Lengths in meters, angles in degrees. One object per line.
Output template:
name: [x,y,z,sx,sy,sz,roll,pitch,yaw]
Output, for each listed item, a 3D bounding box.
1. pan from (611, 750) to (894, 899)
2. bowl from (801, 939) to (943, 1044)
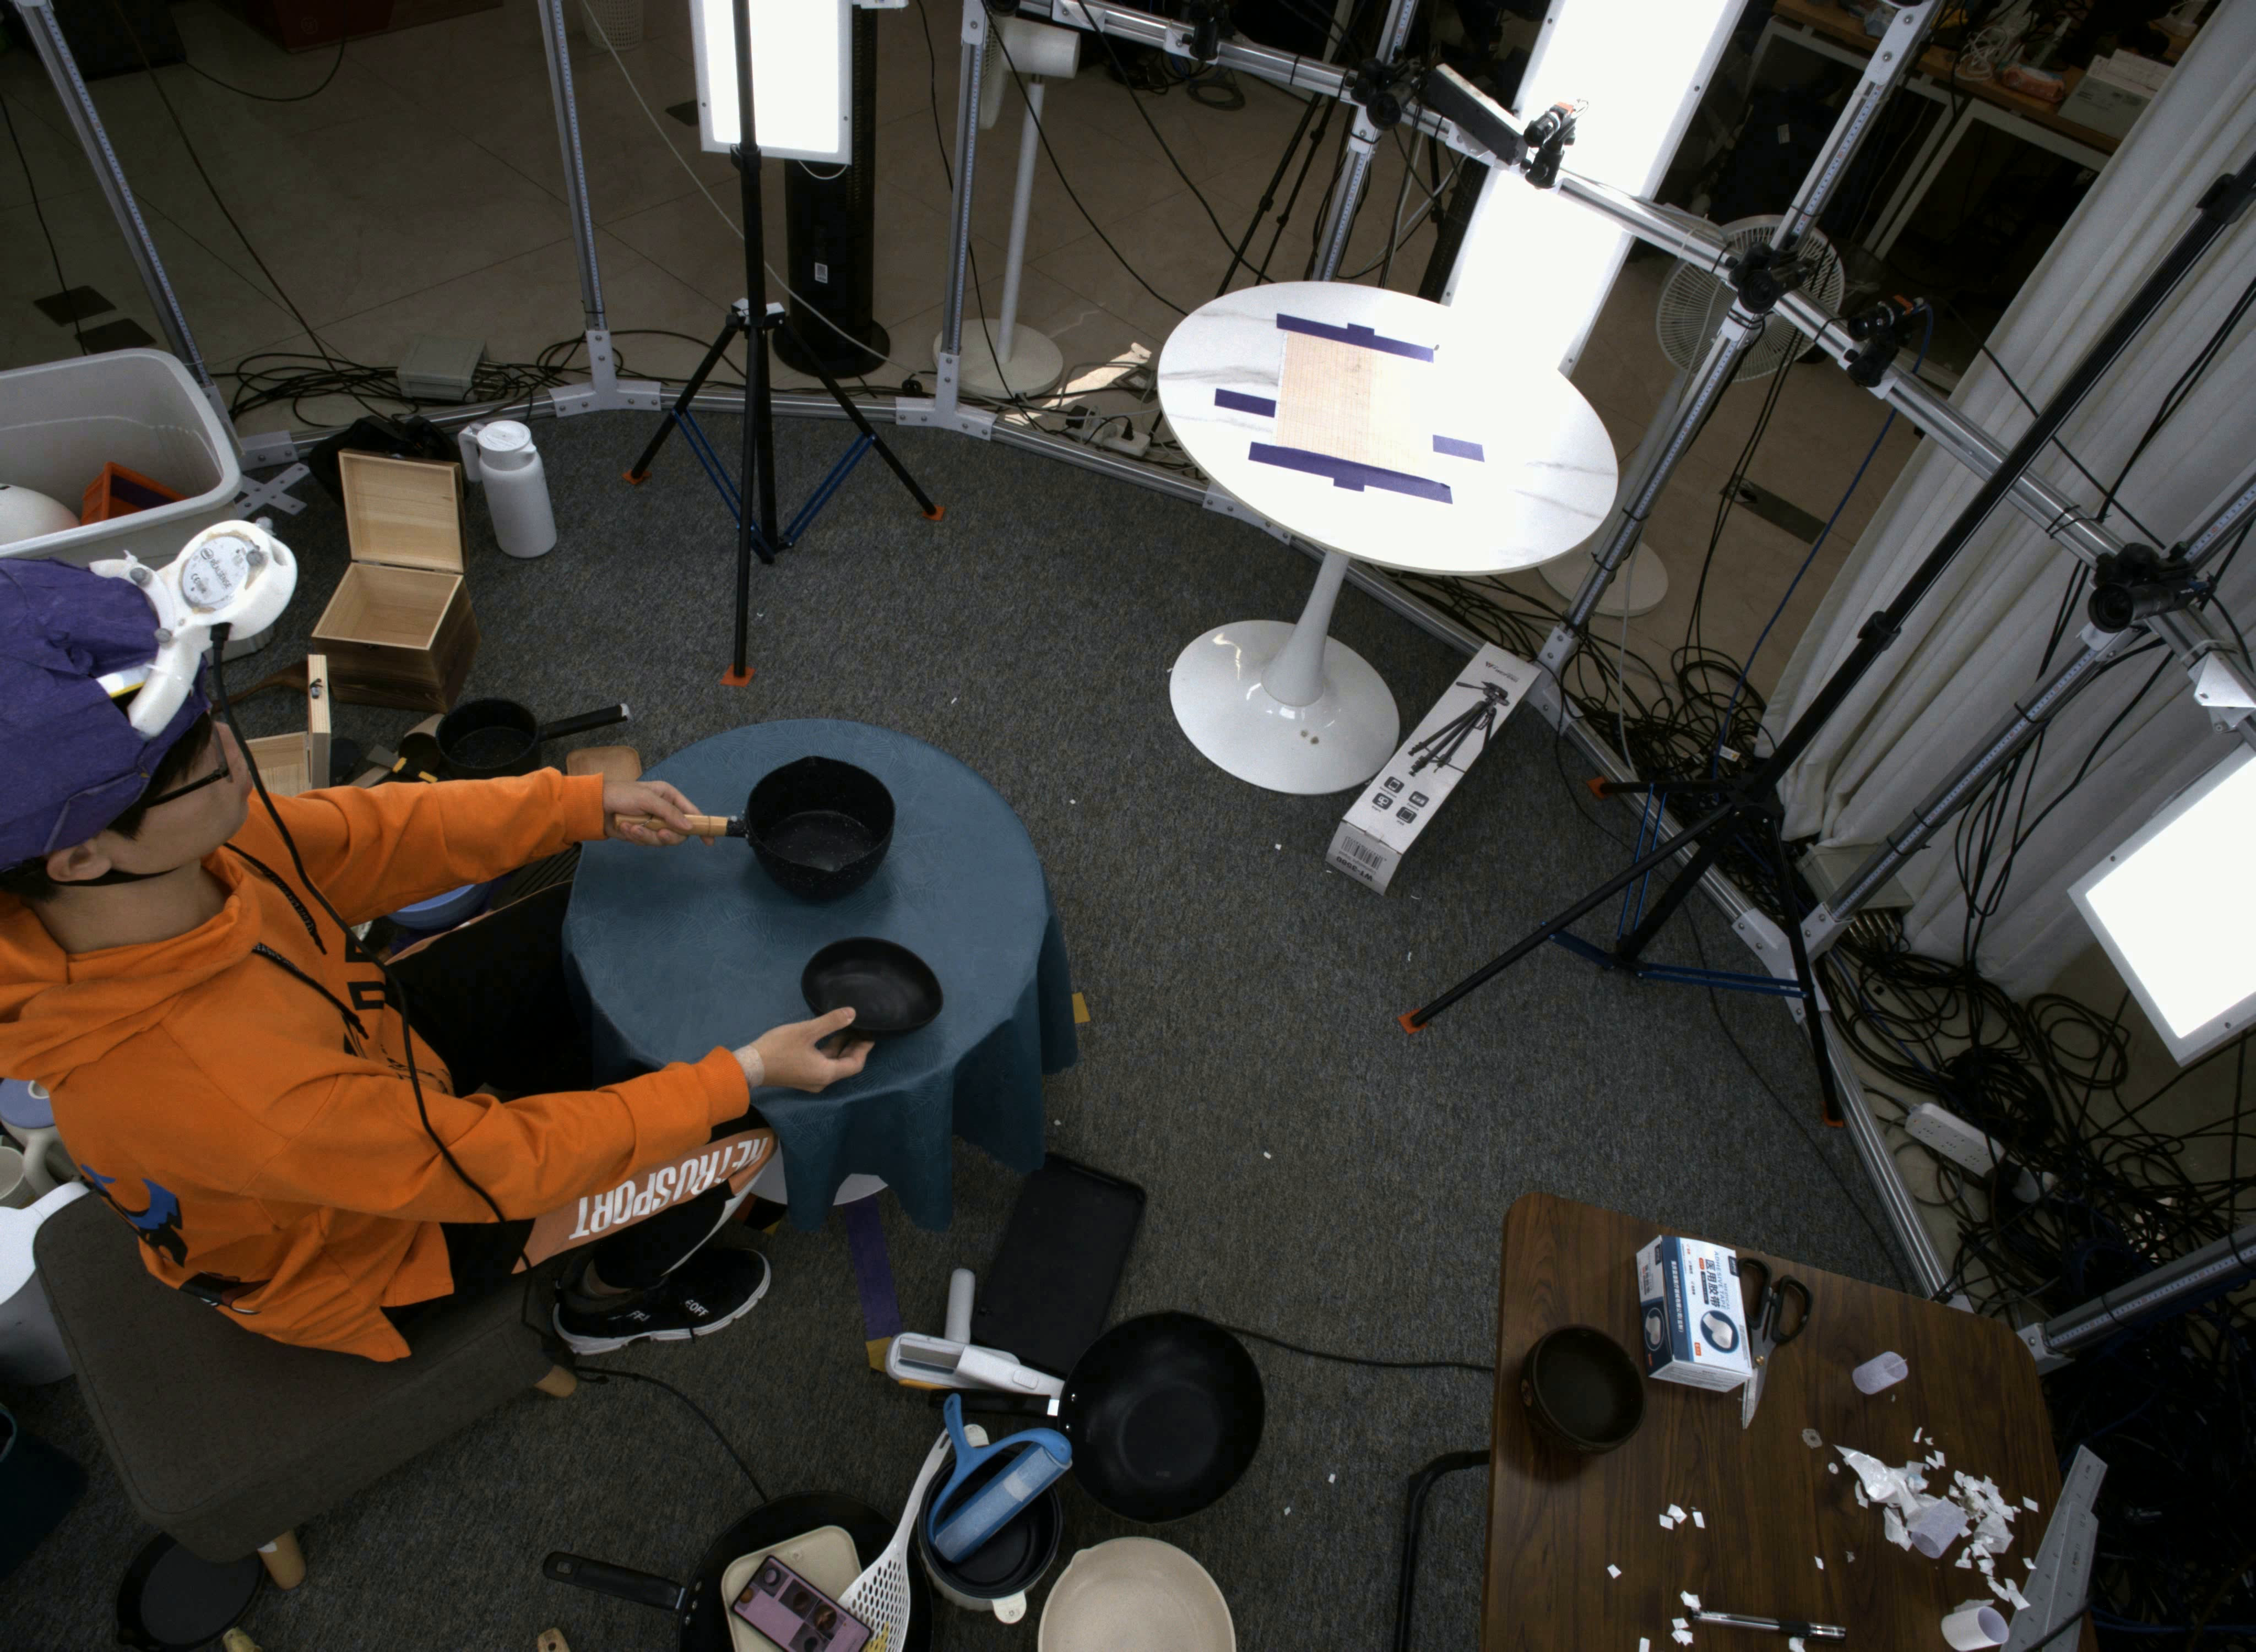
pan: [-0.463,0.007,1.604,0.345,0.110,0.202,-6,51,-23]
bowl: [-0.304,0.203,1.531,0.172,0.067,0.134,10,44,-22]
